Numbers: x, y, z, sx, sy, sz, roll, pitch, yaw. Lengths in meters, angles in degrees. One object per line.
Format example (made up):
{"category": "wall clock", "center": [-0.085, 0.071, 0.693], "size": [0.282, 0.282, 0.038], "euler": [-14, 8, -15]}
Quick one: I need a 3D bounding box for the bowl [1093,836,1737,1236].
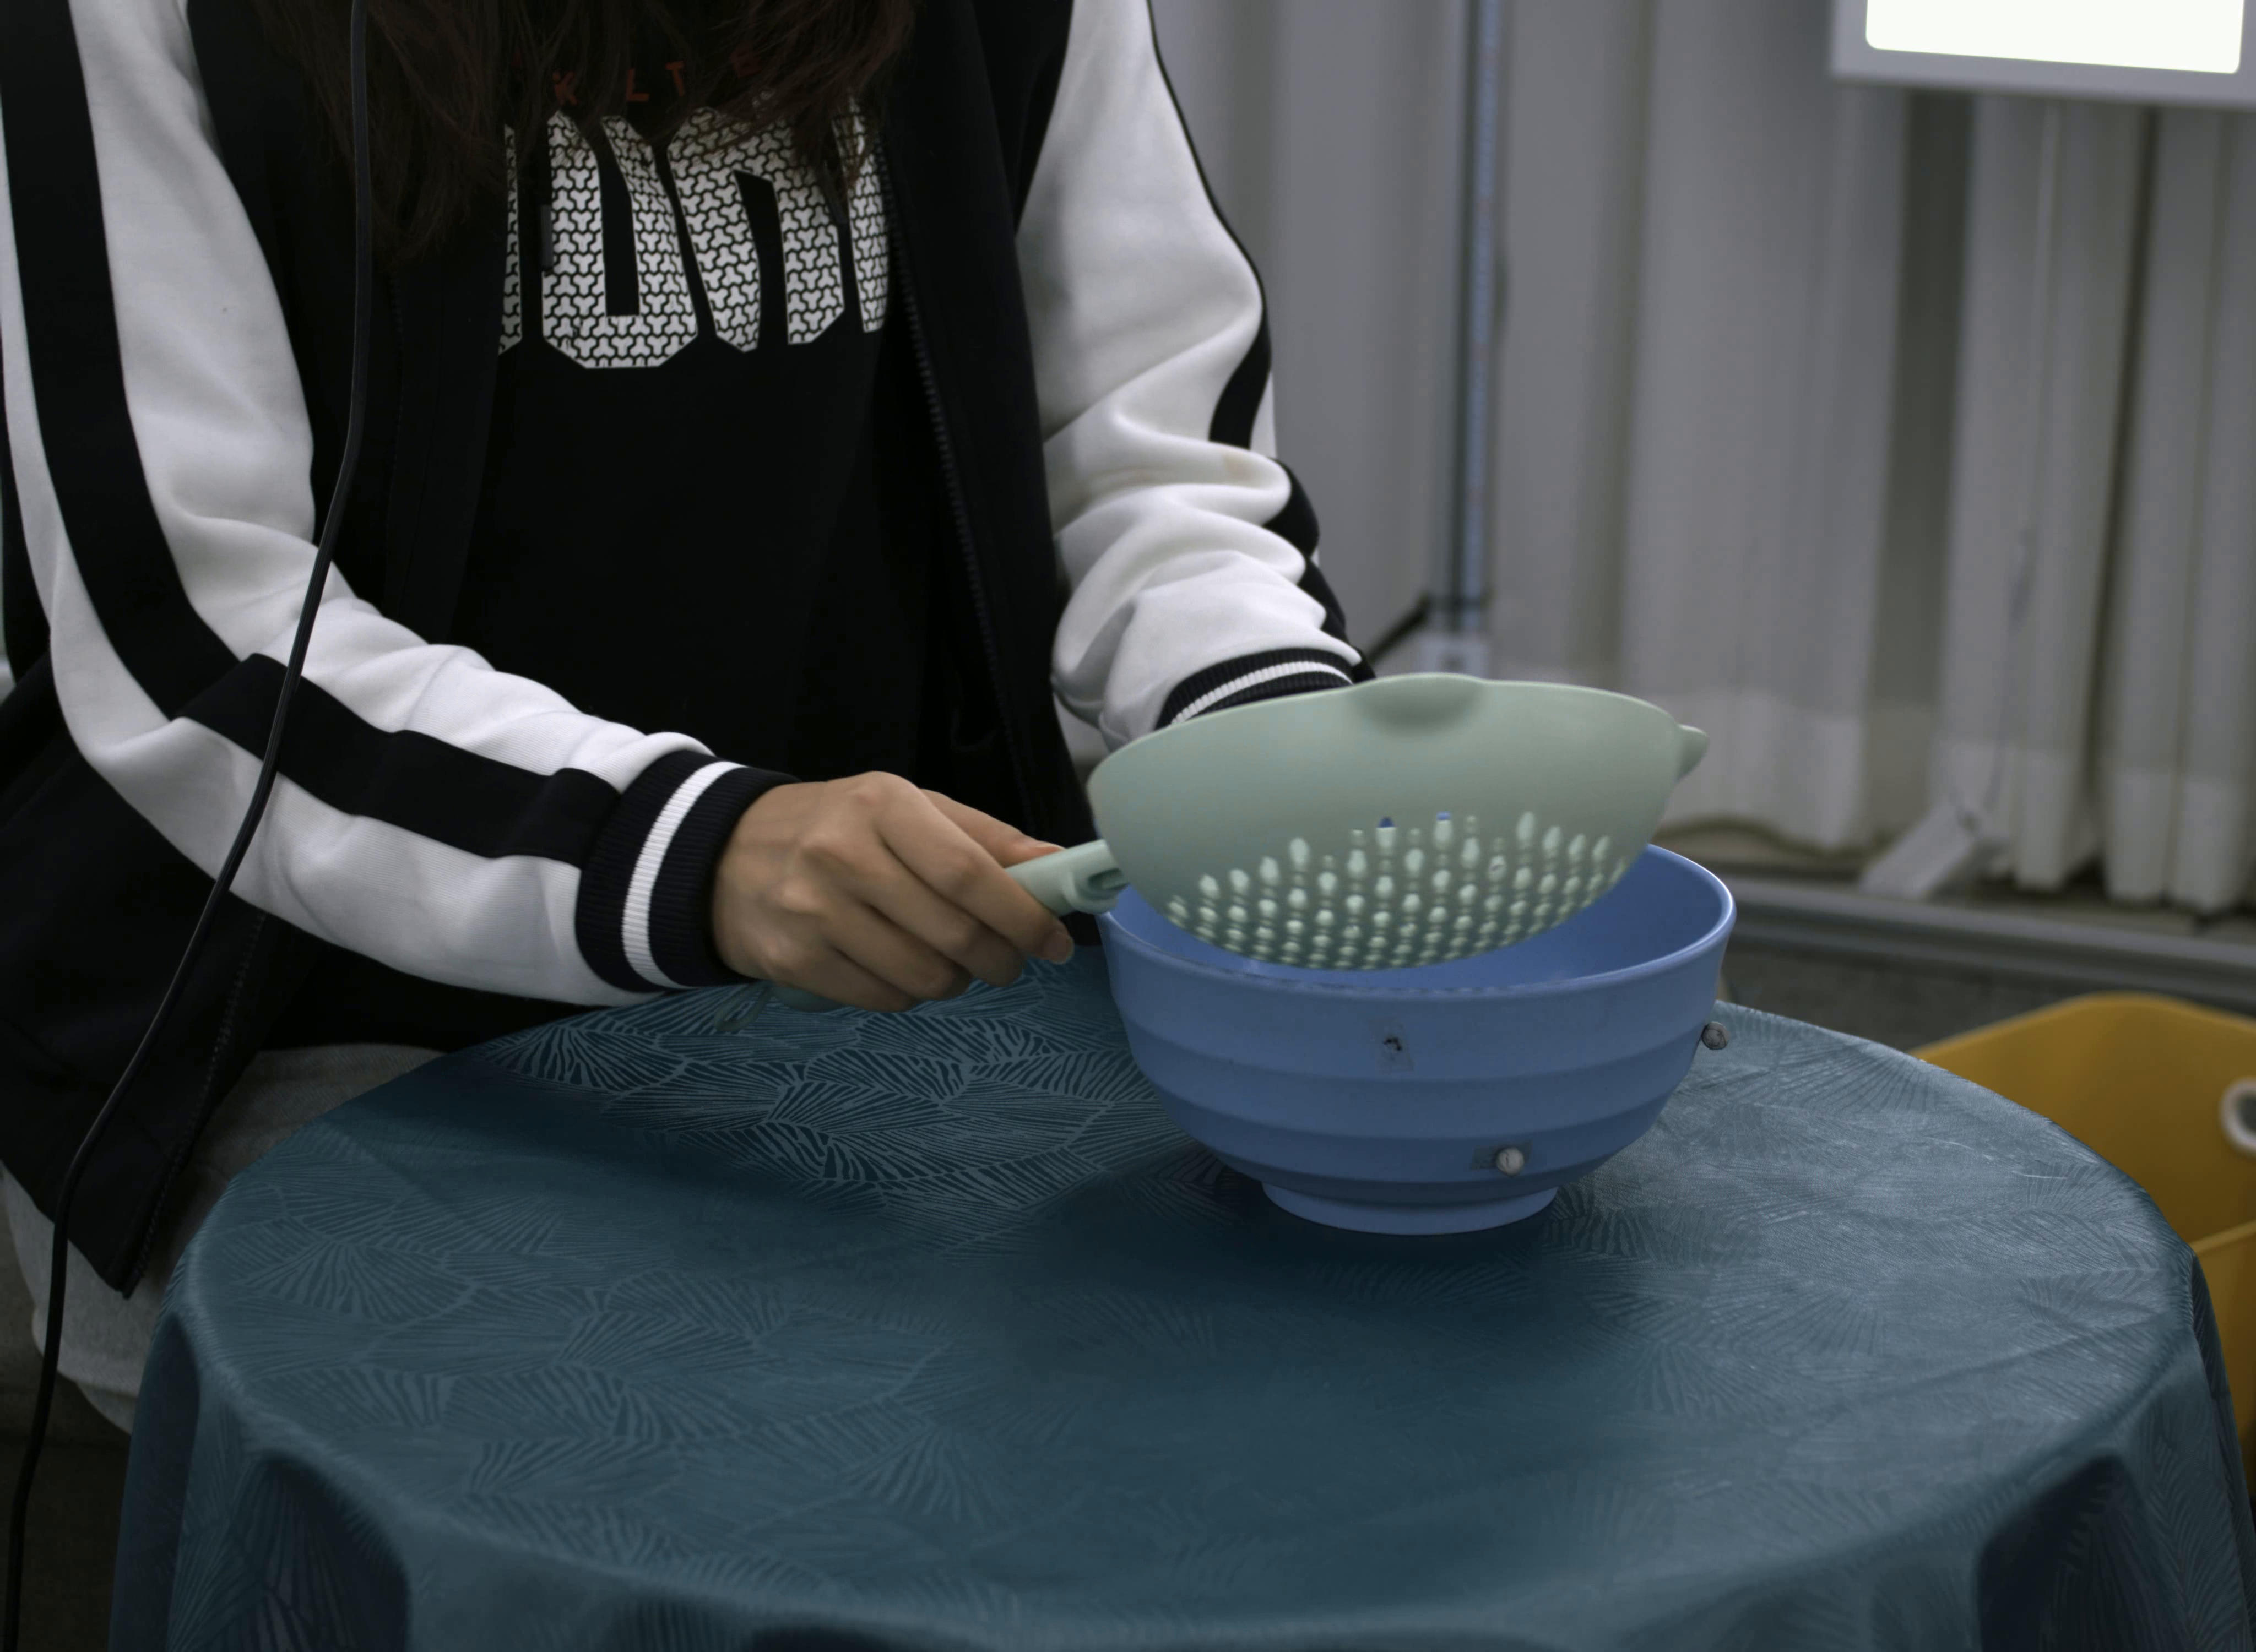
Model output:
{"category": "bowl", "center": [0.087, 0.066, 1.613], "size": [0.196, 0.096, 0.195], "euler": [0, 16, 1]}

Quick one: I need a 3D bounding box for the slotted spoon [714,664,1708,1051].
{"category": "slotted spoon", "center": [0.002, 0.016, 1.551], "size": [0.355, 0.075, 0.171], "euler": [-8, -13, 42]}
